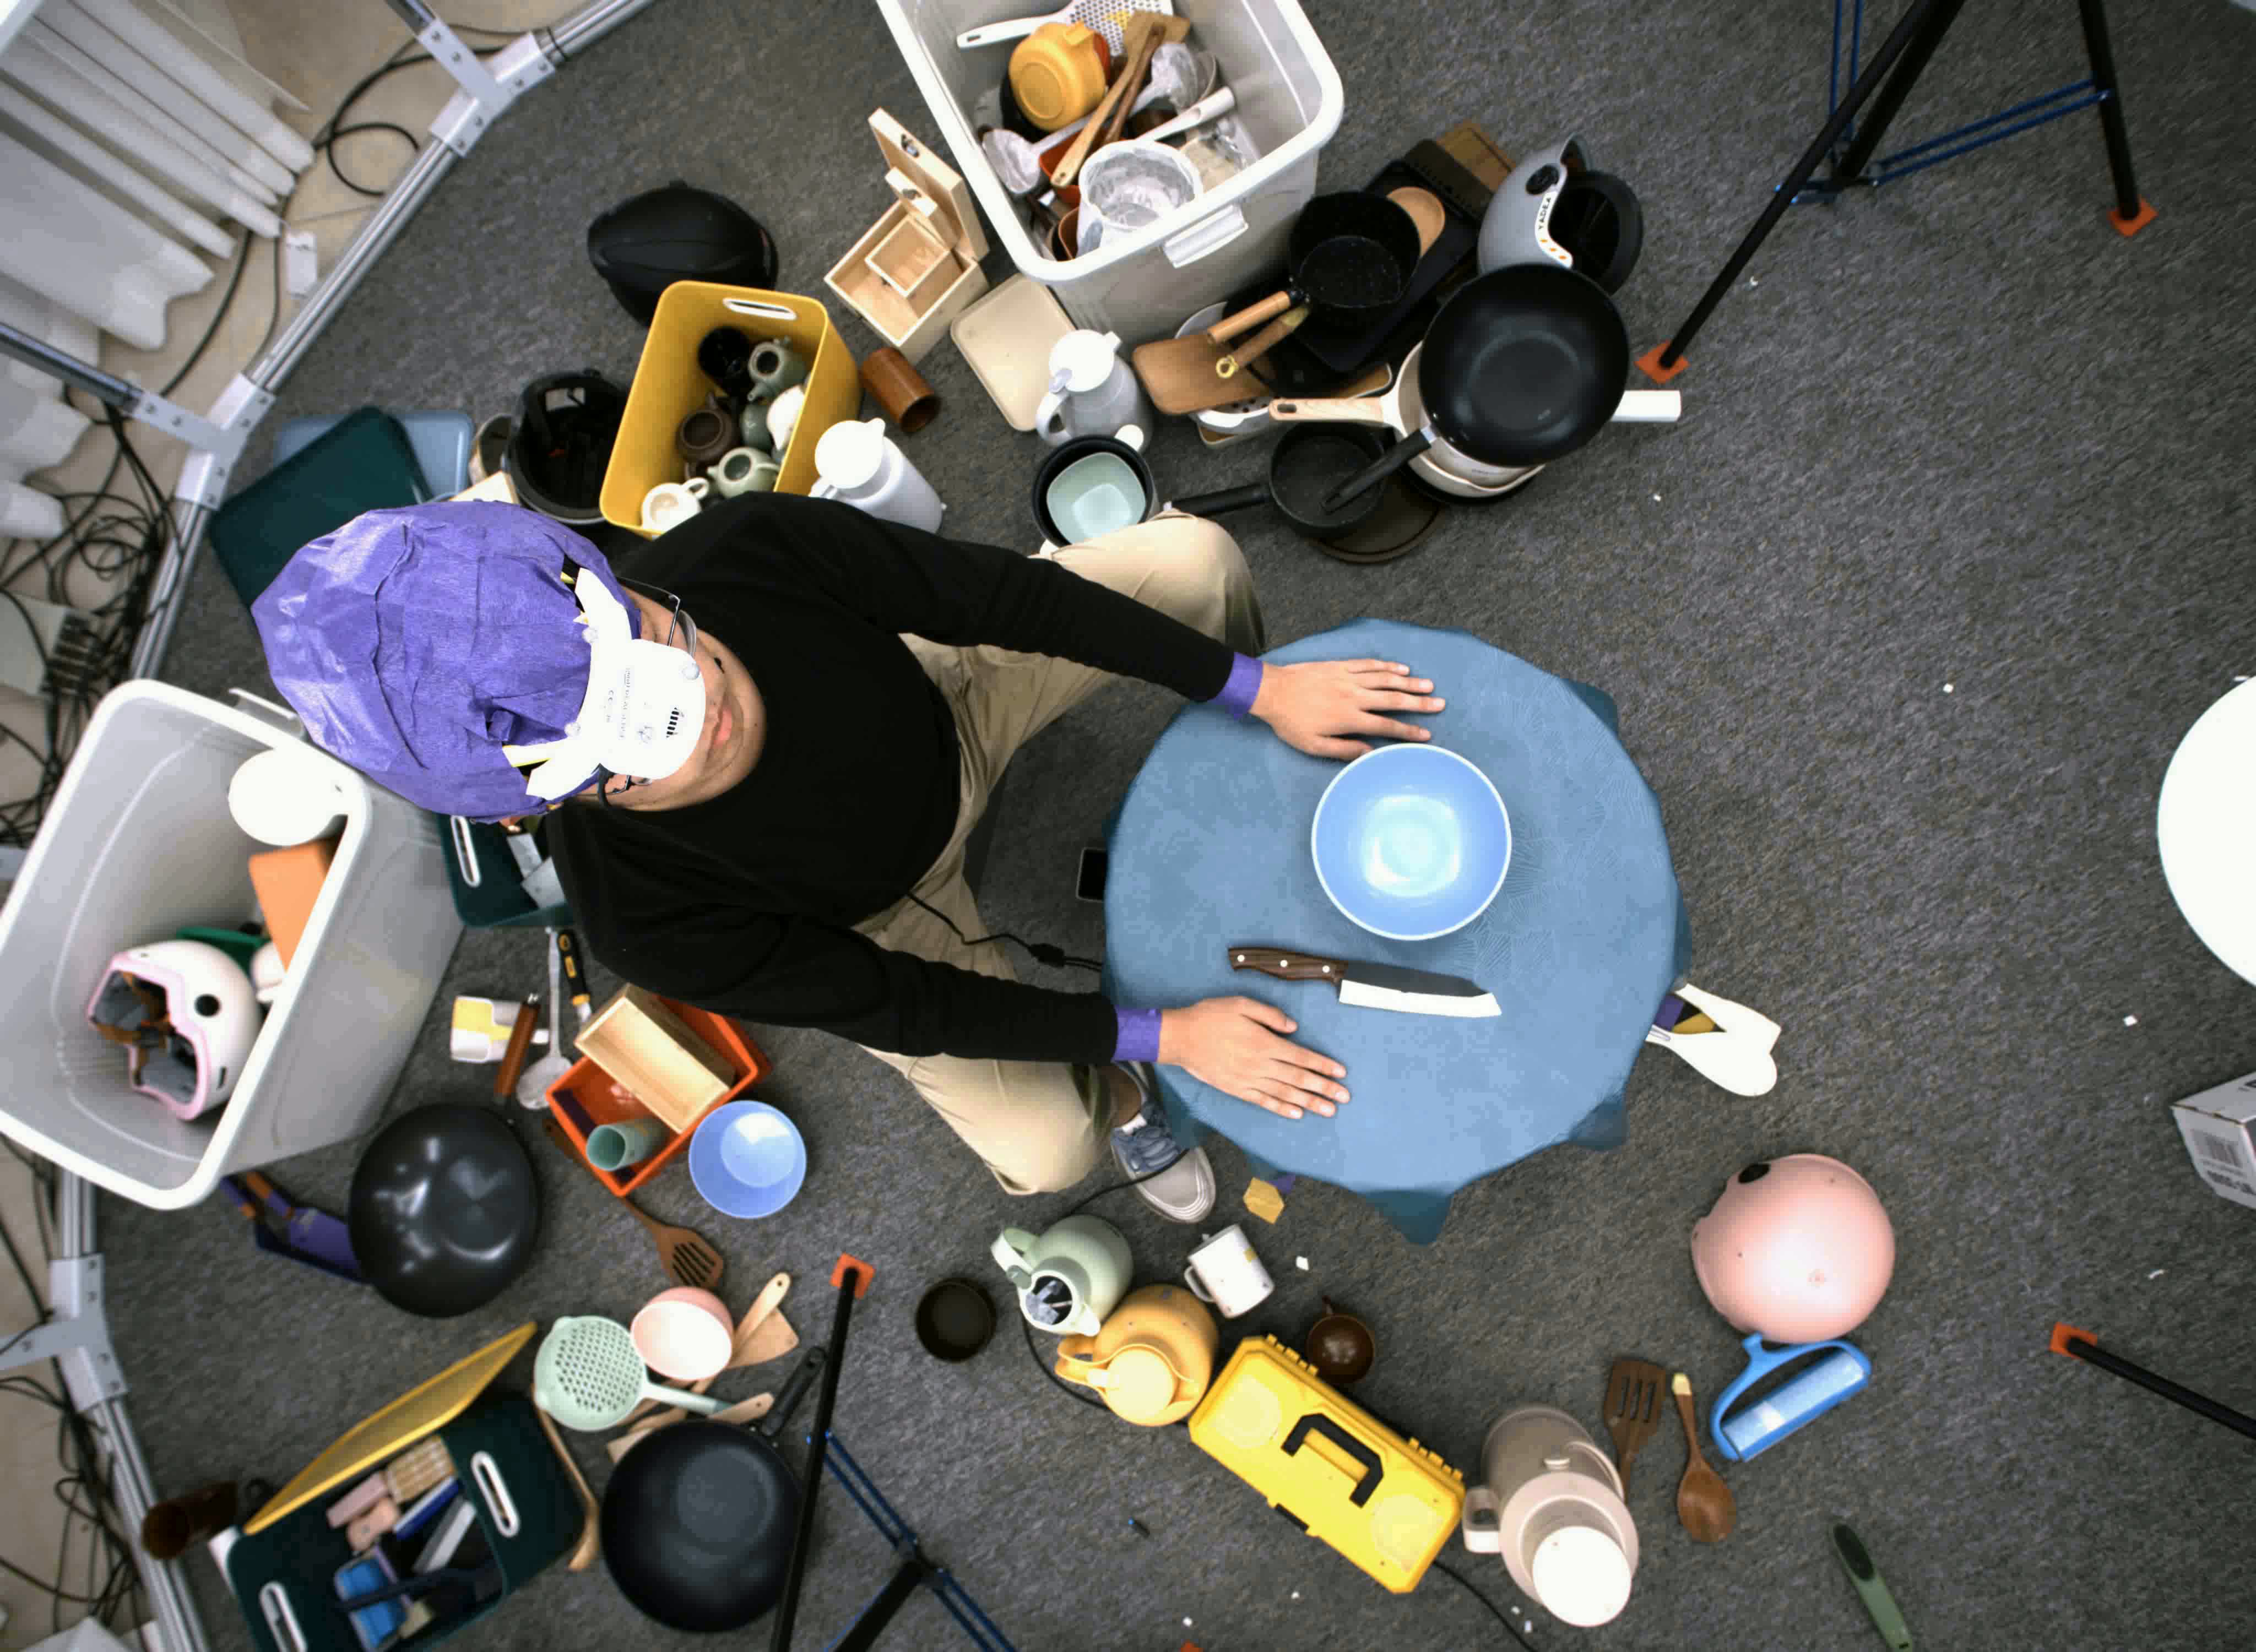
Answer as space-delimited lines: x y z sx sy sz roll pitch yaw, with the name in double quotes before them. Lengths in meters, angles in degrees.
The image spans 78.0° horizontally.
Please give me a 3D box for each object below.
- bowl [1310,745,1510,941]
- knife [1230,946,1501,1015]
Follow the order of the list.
"bowl" 0.289 0.019 1.415 0.197 0.095 0.196 -1 87 13
"knife" 0.248 0.161 1.454 0.289 0.020 0.050 10 93 9
